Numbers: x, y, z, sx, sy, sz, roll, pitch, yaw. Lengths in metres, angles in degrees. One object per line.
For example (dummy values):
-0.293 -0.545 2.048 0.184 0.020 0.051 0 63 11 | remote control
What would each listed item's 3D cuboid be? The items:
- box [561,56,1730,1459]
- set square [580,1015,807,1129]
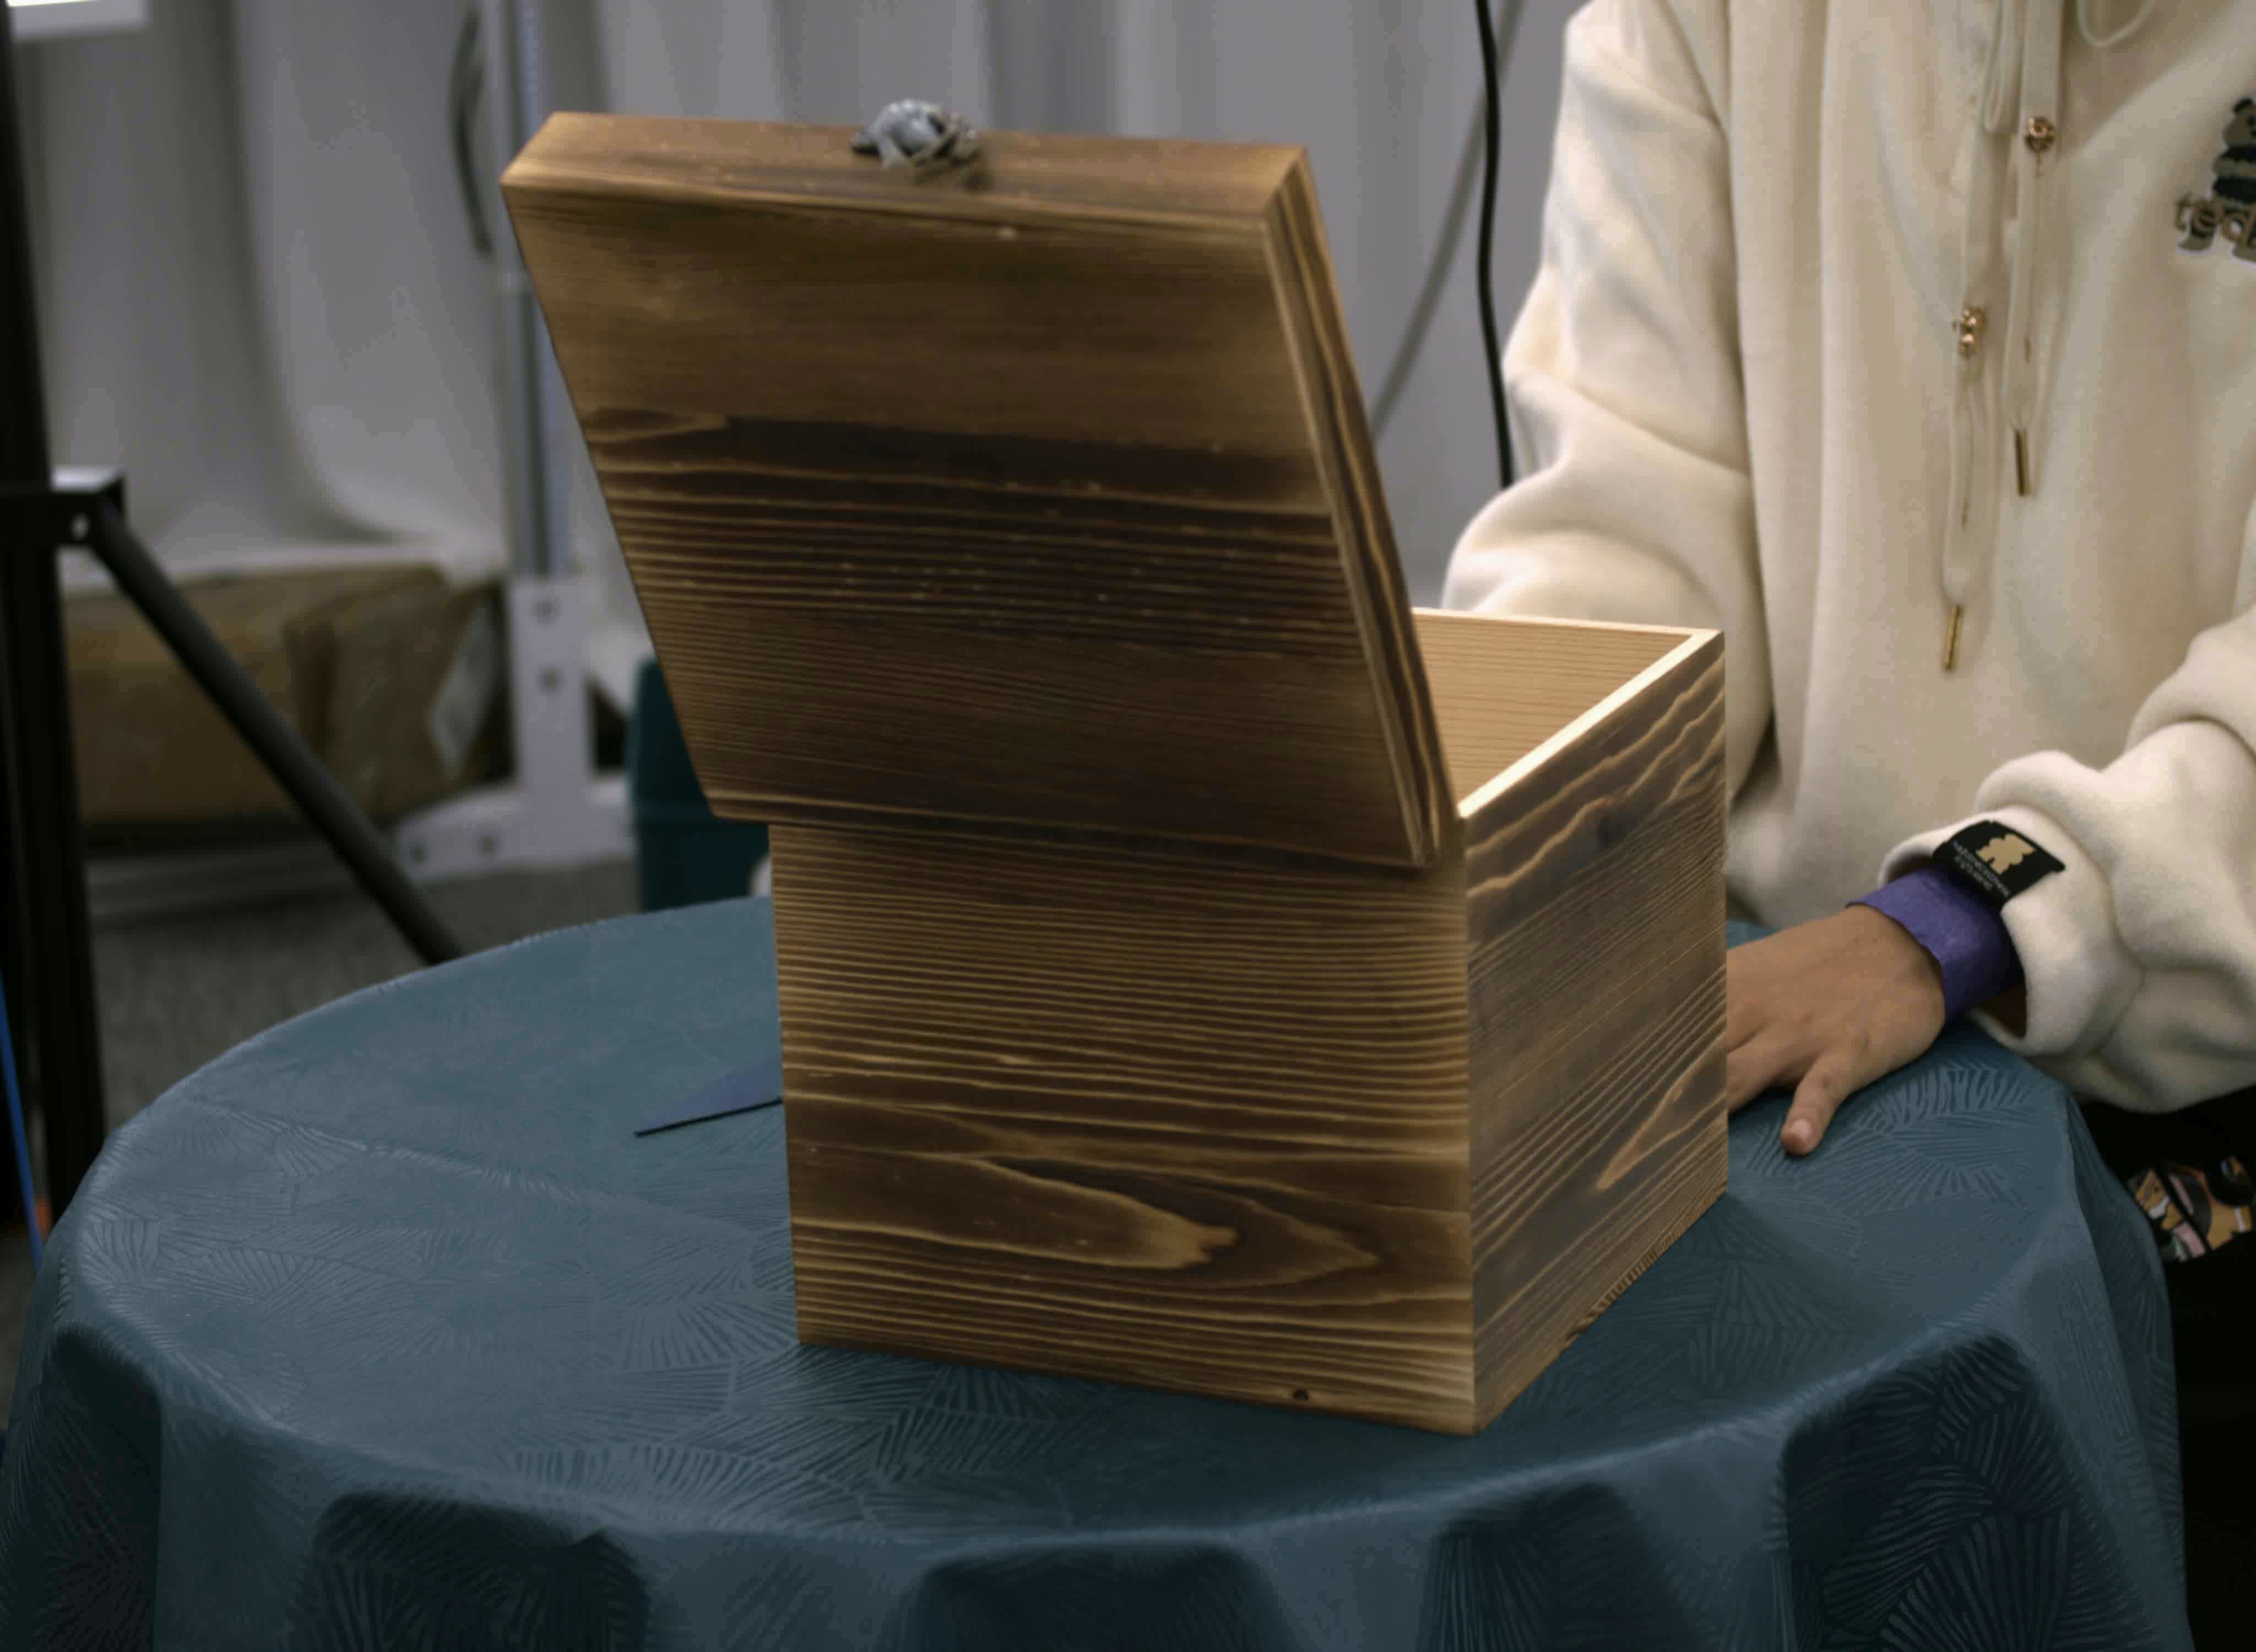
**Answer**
0.016 -0.033 1.401 0.212 0.375 0.317 6 18 25 | box
-0.120 0.074 1.686 0.129 0.006 0.062 -10 21 -26 | set square
